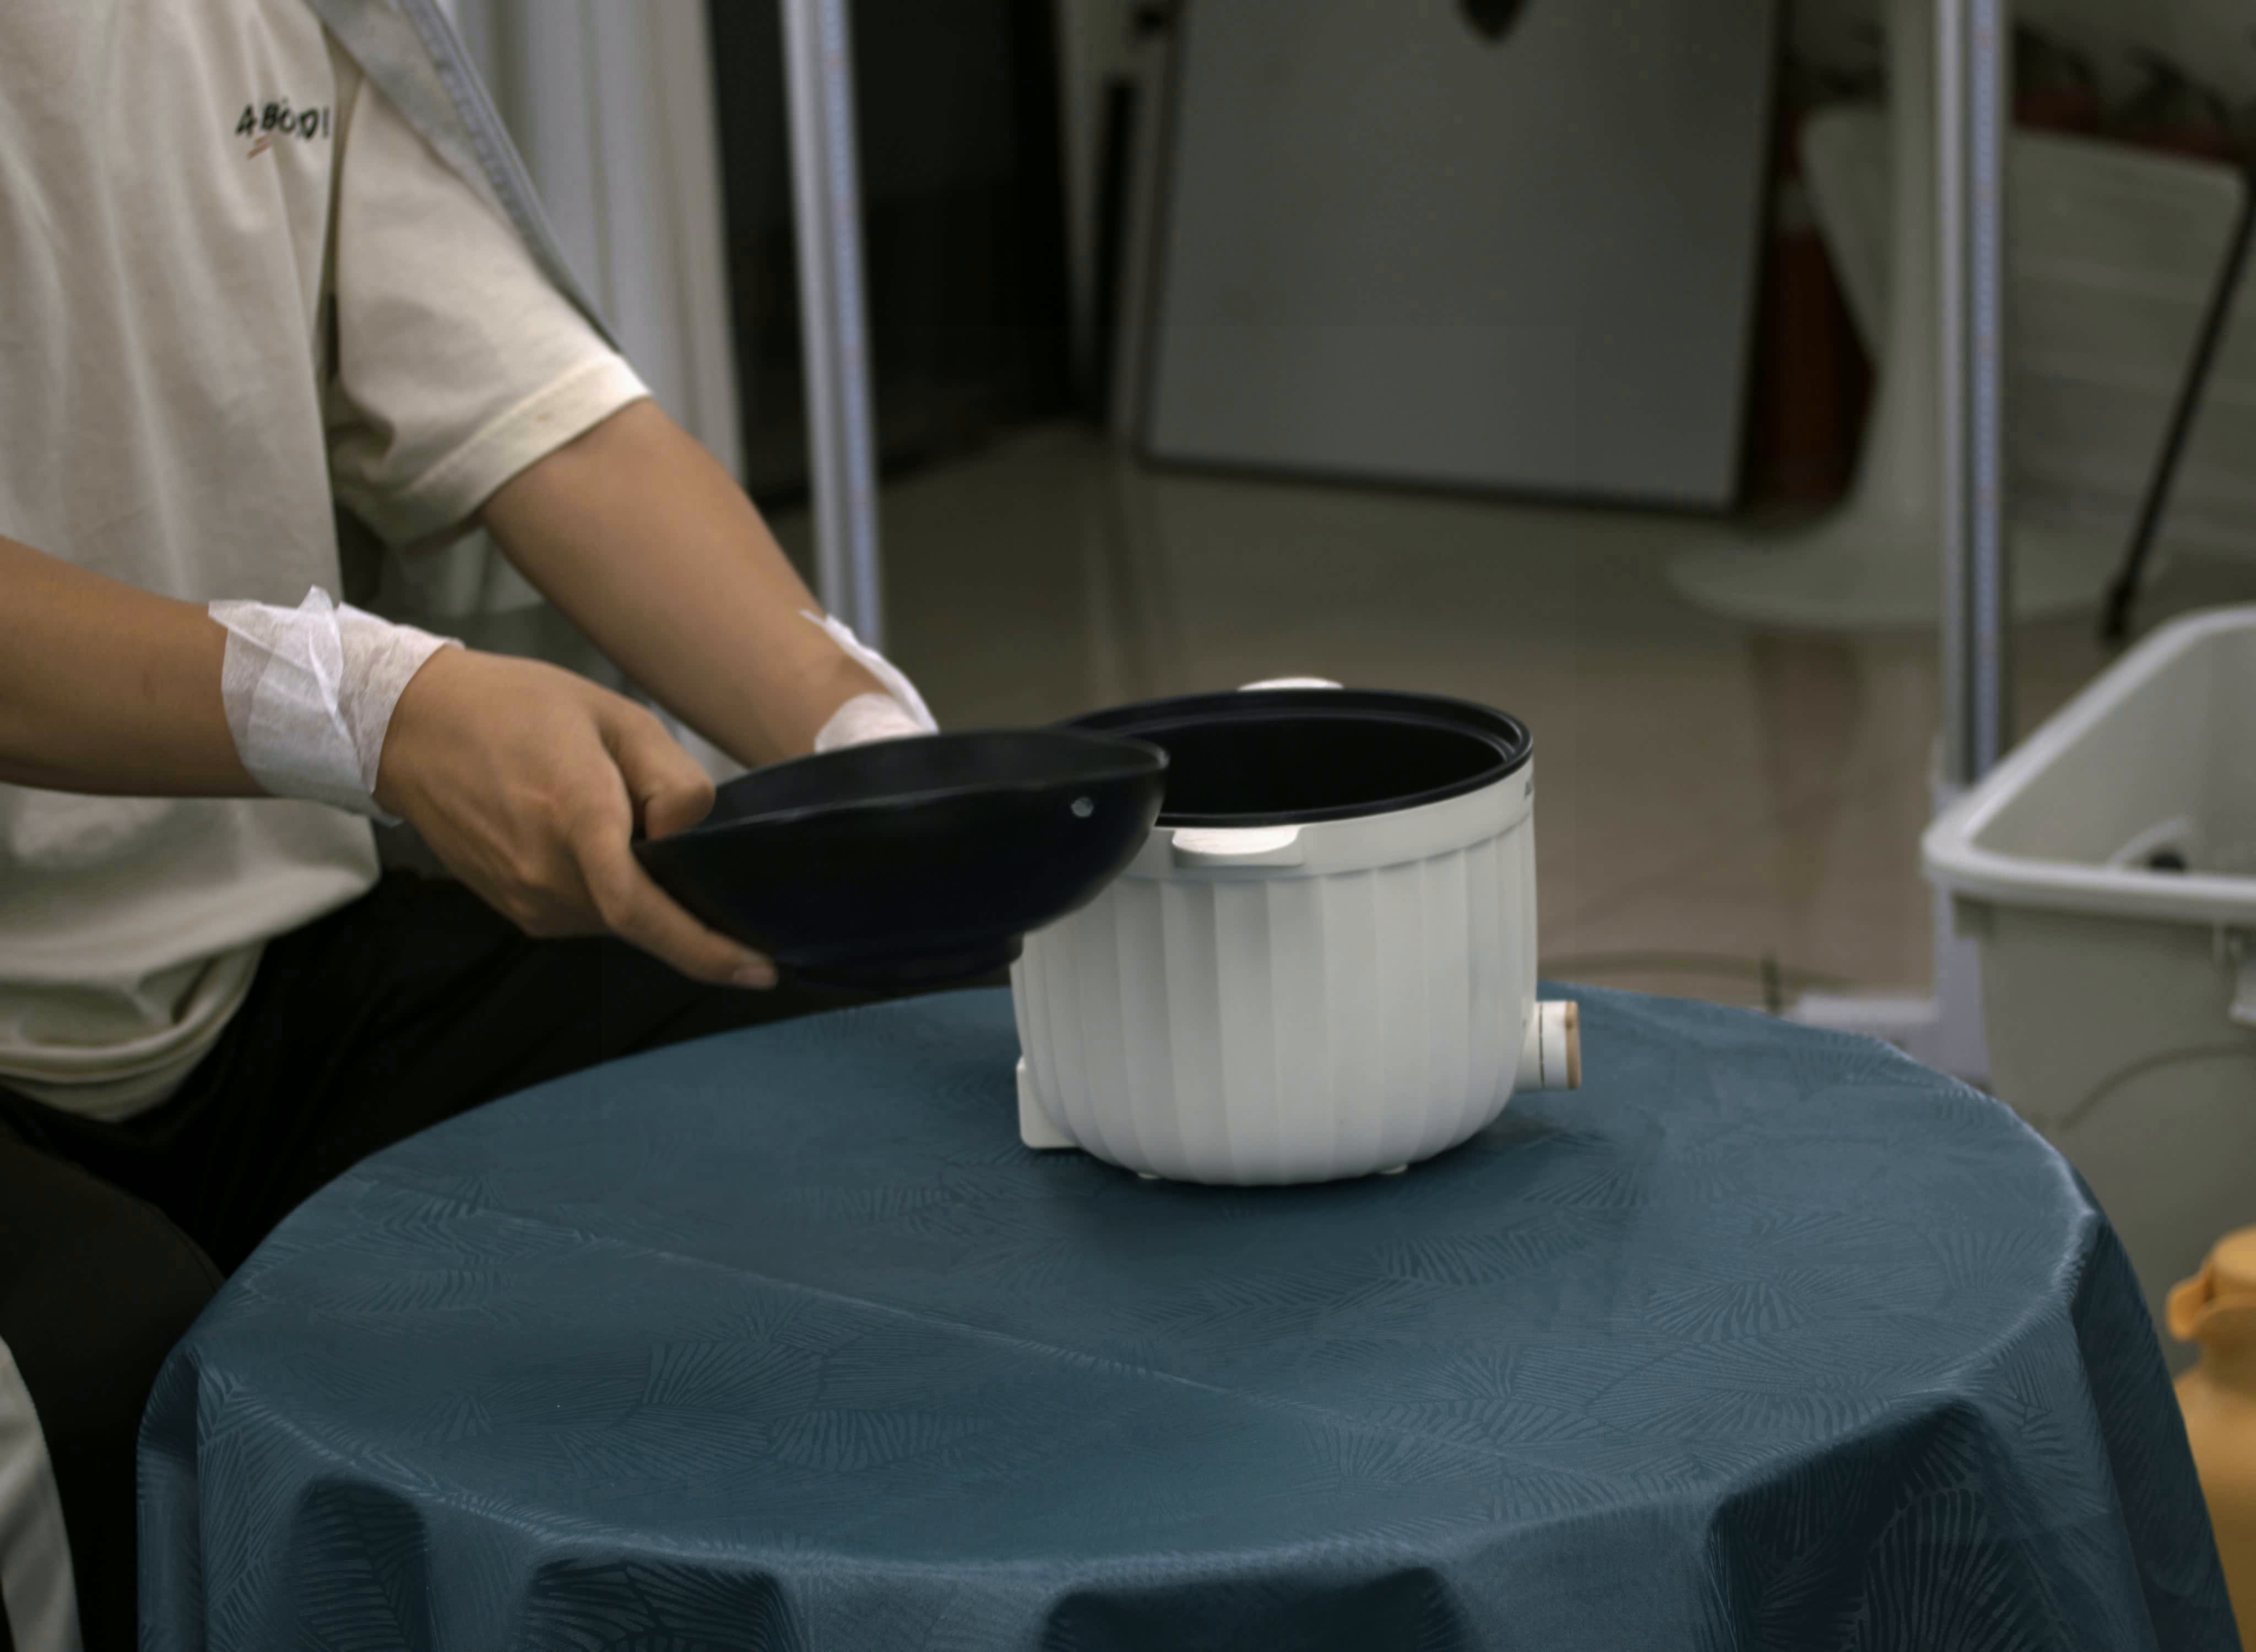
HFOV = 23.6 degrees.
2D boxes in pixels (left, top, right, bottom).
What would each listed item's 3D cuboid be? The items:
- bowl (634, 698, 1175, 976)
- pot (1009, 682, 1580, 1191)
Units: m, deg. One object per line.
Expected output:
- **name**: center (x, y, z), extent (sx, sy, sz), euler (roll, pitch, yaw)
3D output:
- **bowl**: center (-0.066, 0.007, 1.650), extent (0.168, 0.067, 0.137), euler (-8, 9, 0)
- **pot**: center (0.054, 0.038, 1.806), extent (0.189, 0.144, 0.240), euler (-6, 14, 8)
